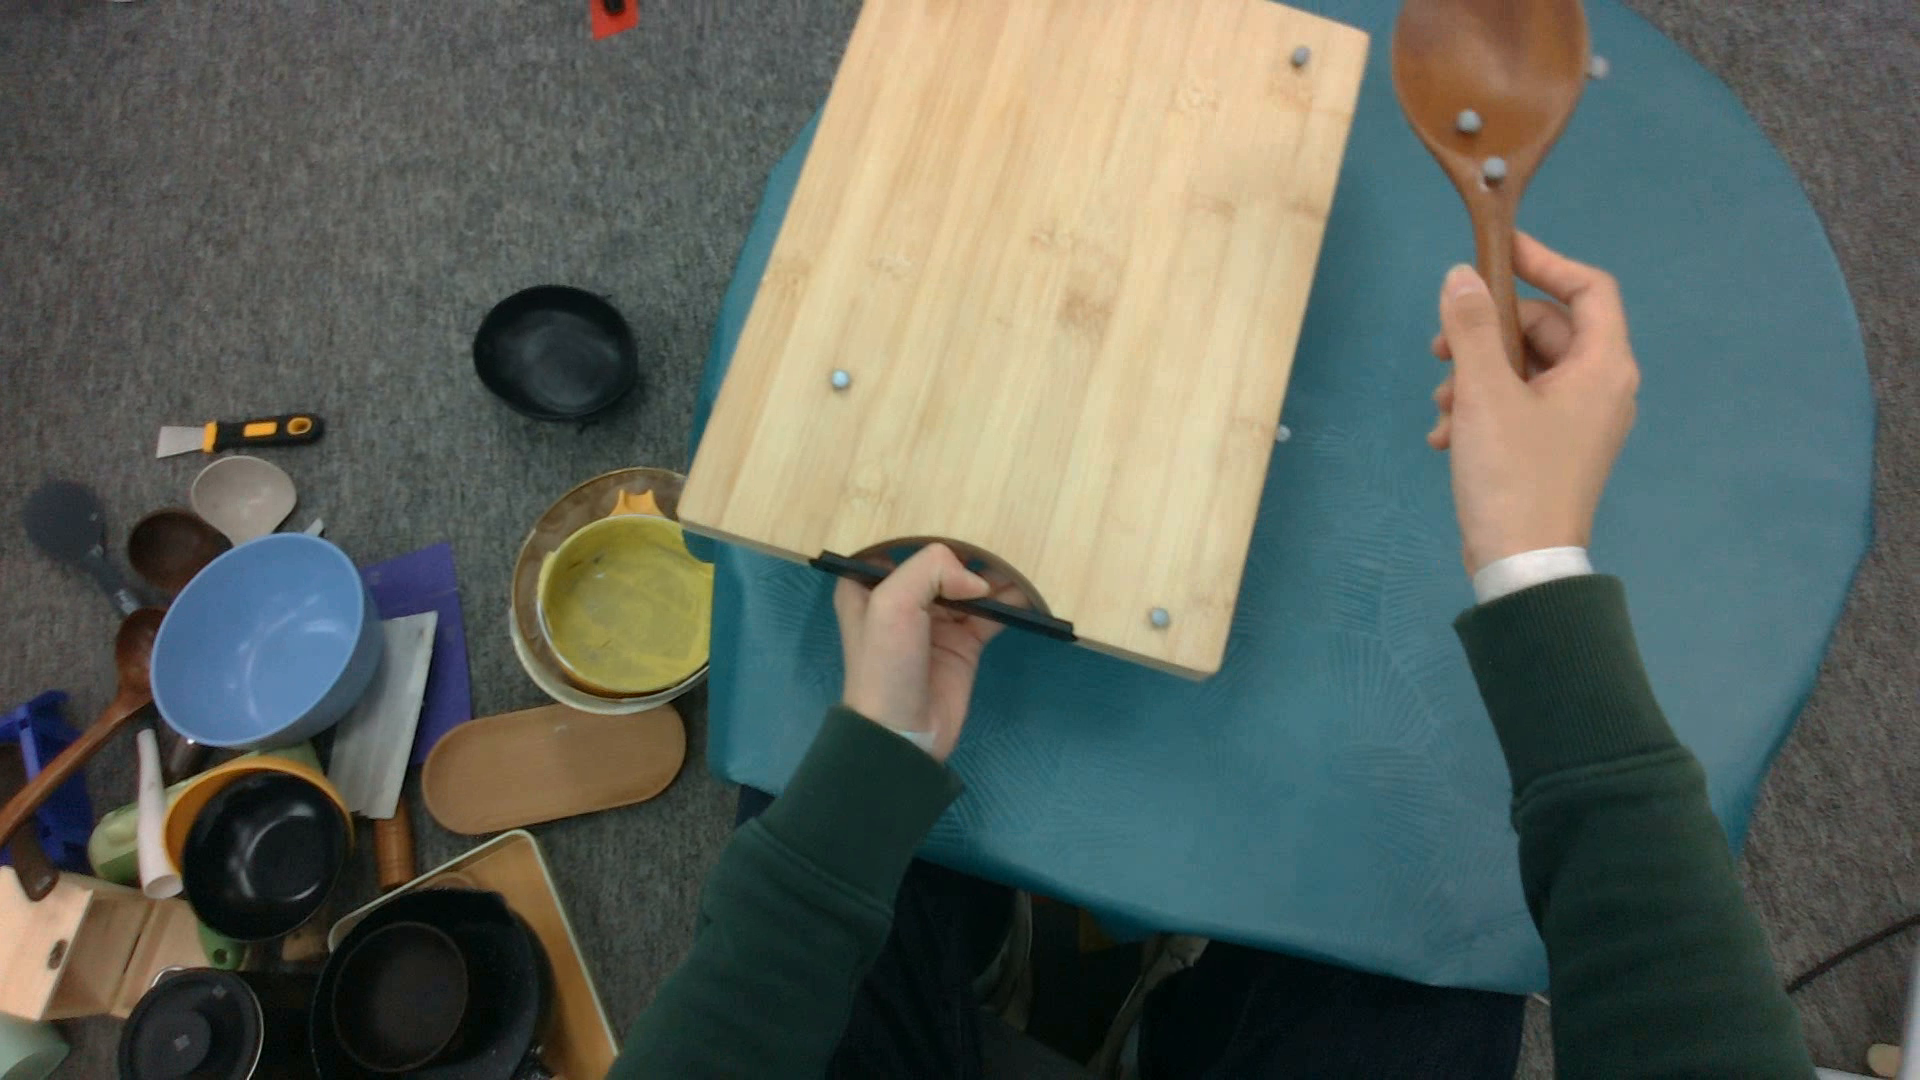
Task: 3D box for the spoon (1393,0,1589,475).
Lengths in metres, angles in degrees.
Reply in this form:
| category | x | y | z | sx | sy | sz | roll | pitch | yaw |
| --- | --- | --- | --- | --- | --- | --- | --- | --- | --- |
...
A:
| category | x | y | z | sx | sy | sz | roll | pitch | yaw |
| --- | --- | --- | --- | --- | --- | --- | --- | --- | --- |
| spoon | 0.209 | -0.130 | 0.547 | 0.075 | 0.017 | 0.216 | 3 | 76 | 14 |

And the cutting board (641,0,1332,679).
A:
| category | x | y | z | sx | sy | sz | roll | pitch | yaw |
| --- | --- | --- | --- | --- | --- | --- | --- | --- | --- |
| cutting board | 0.026 | -0.131 | 0.640 | 0.251 | 0.023 | 0.349 | 15 | 71 | -2 |
